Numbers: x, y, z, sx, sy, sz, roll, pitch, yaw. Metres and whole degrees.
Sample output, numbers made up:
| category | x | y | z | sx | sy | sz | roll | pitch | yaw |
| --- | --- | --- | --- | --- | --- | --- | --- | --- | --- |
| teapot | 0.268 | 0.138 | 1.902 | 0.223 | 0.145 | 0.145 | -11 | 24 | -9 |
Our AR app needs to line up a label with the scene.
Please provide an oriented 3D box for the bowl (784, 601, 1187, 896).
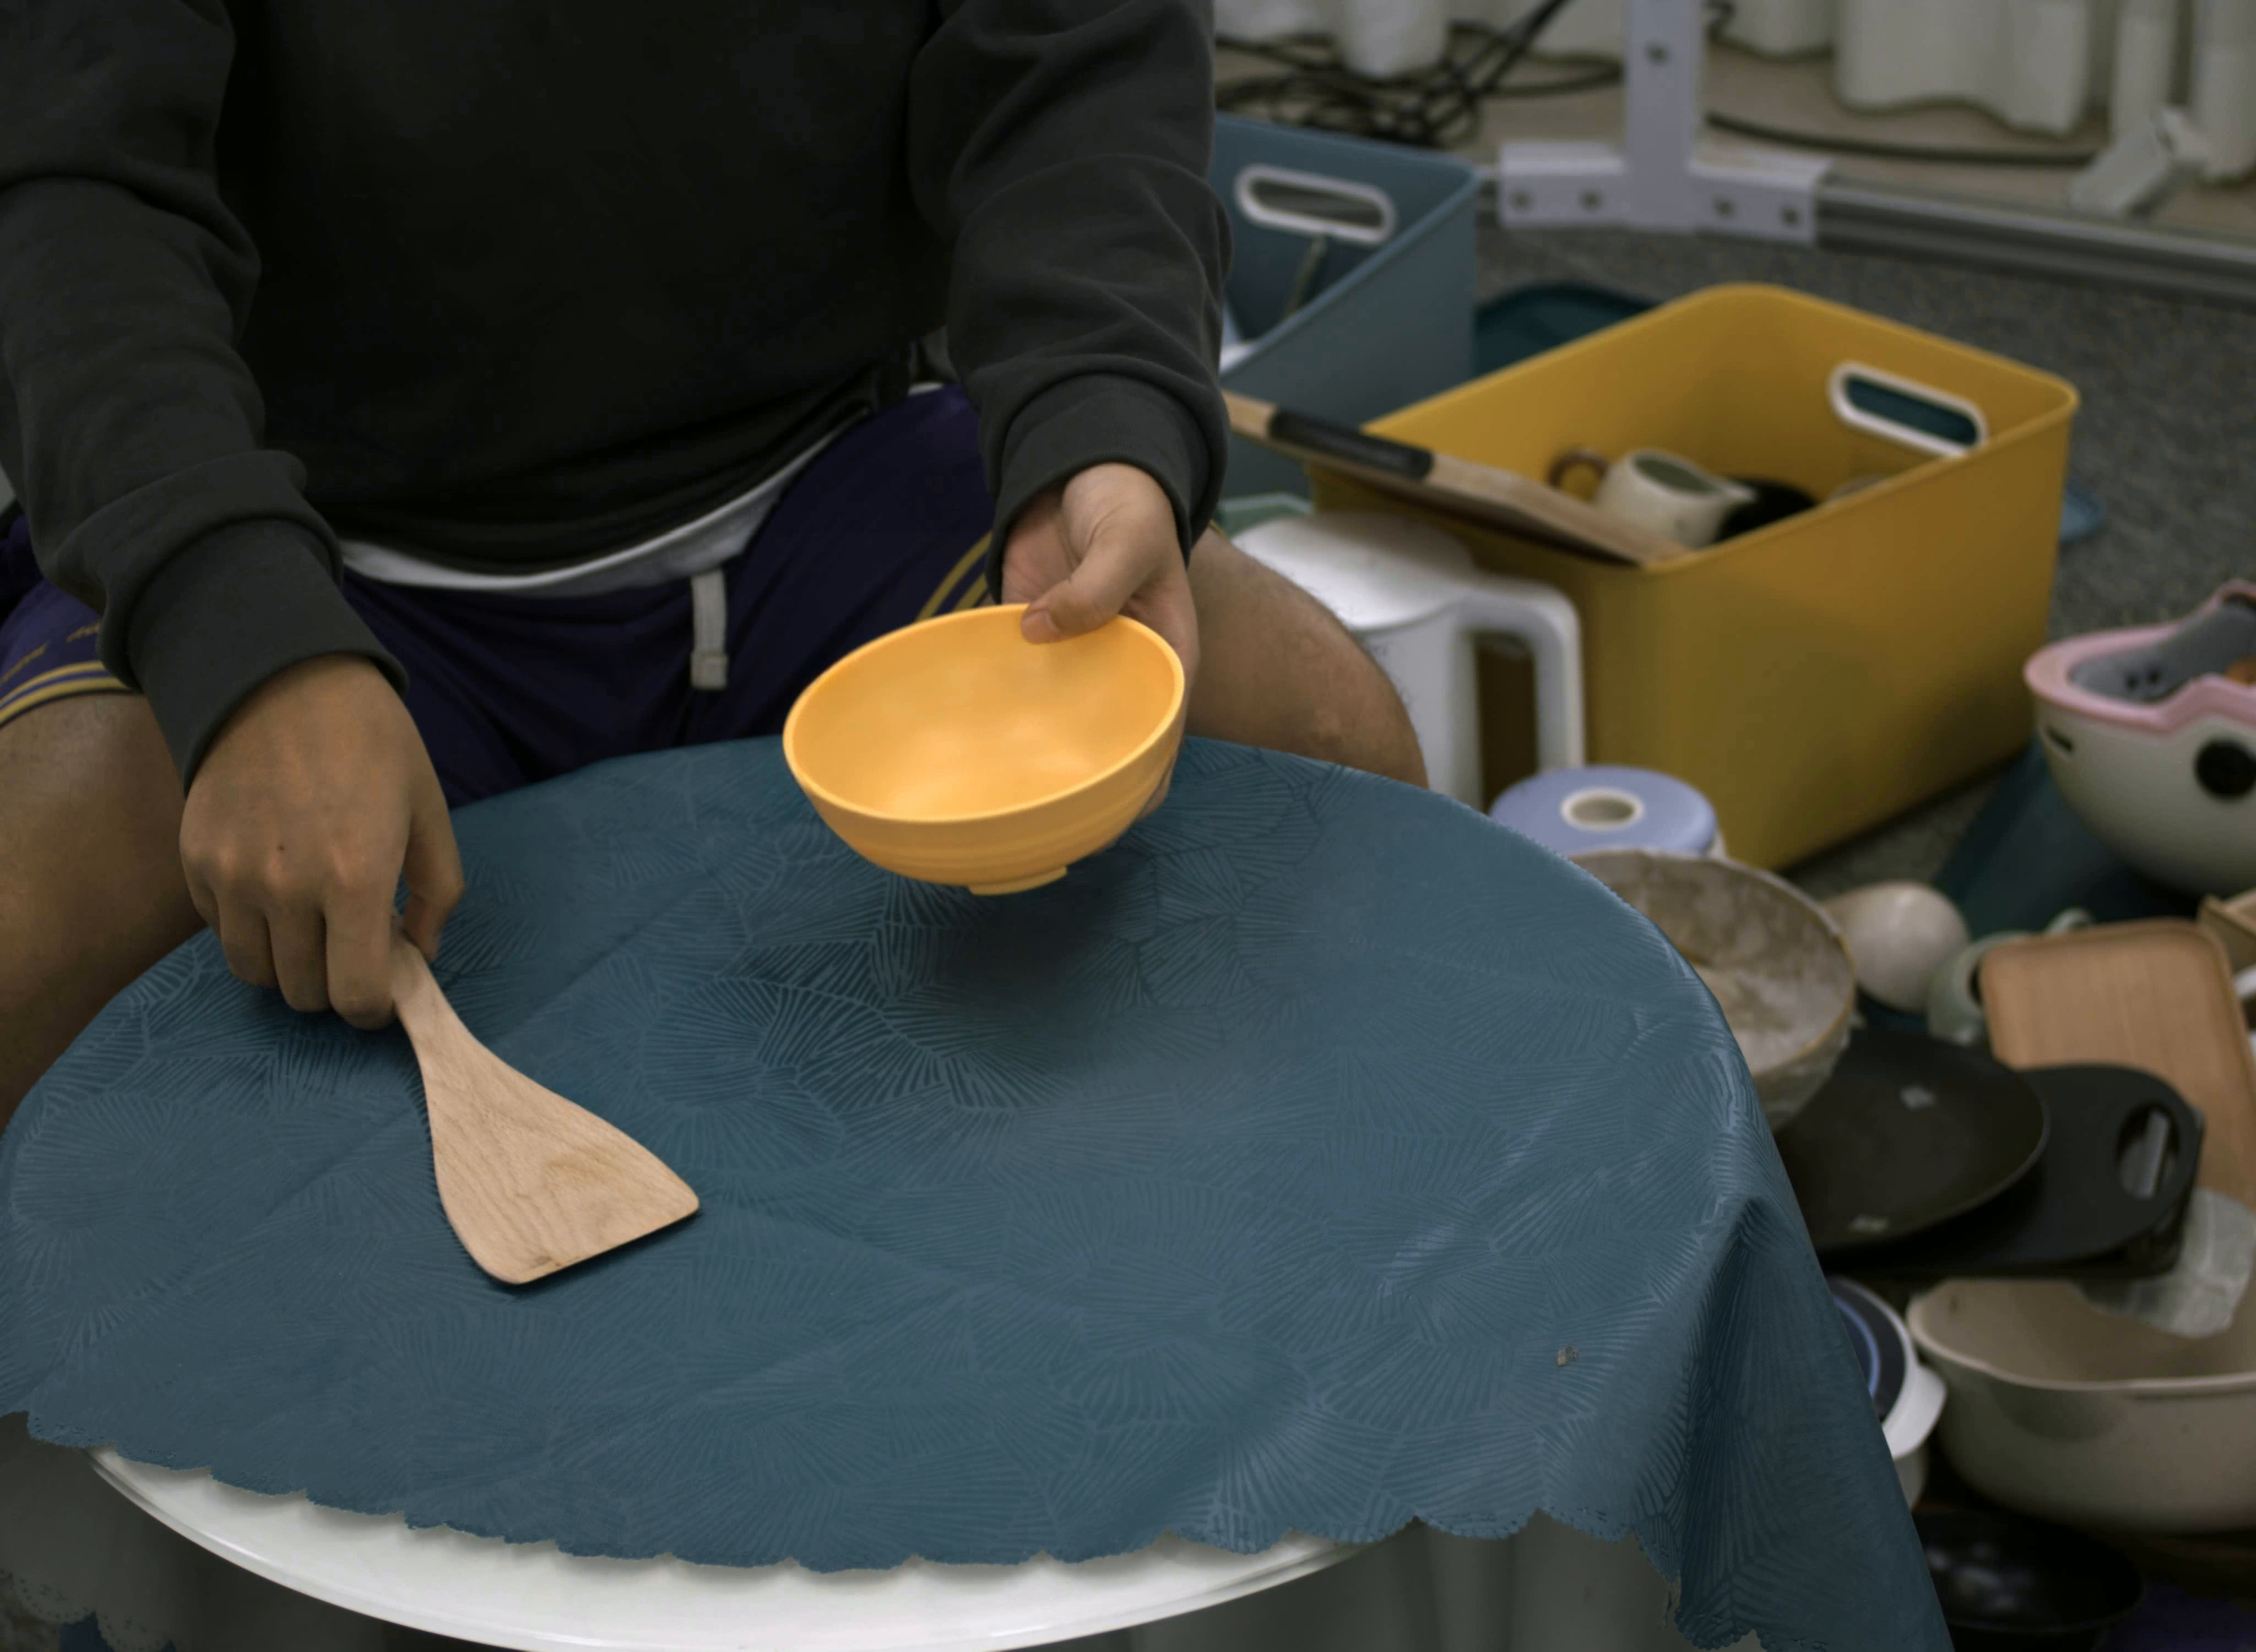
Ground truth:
| category | x | y | z | sx | sy | sz | roll | pitch | yaw |
| --- | --- | --- | --- | --- | --- | --- | --- | --- | --- |
| bowl | -0.047 | -0.017 | 1.999 | 0.144 | 0.059 | 0.148 | -7 | 32 | 4 |

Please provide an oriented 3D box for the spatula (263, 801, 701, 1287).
| category | x | y | z | sx | sy | sz | roll | pitch | yaw |
| --- | --- | --- | --- | --- | --- | --- | --- | --- | --- |
| spatula | -0.239 | 0.069 | 1.957 | 0.080 | 0.016 | 0.330 | -14 | 35 | -22 |
